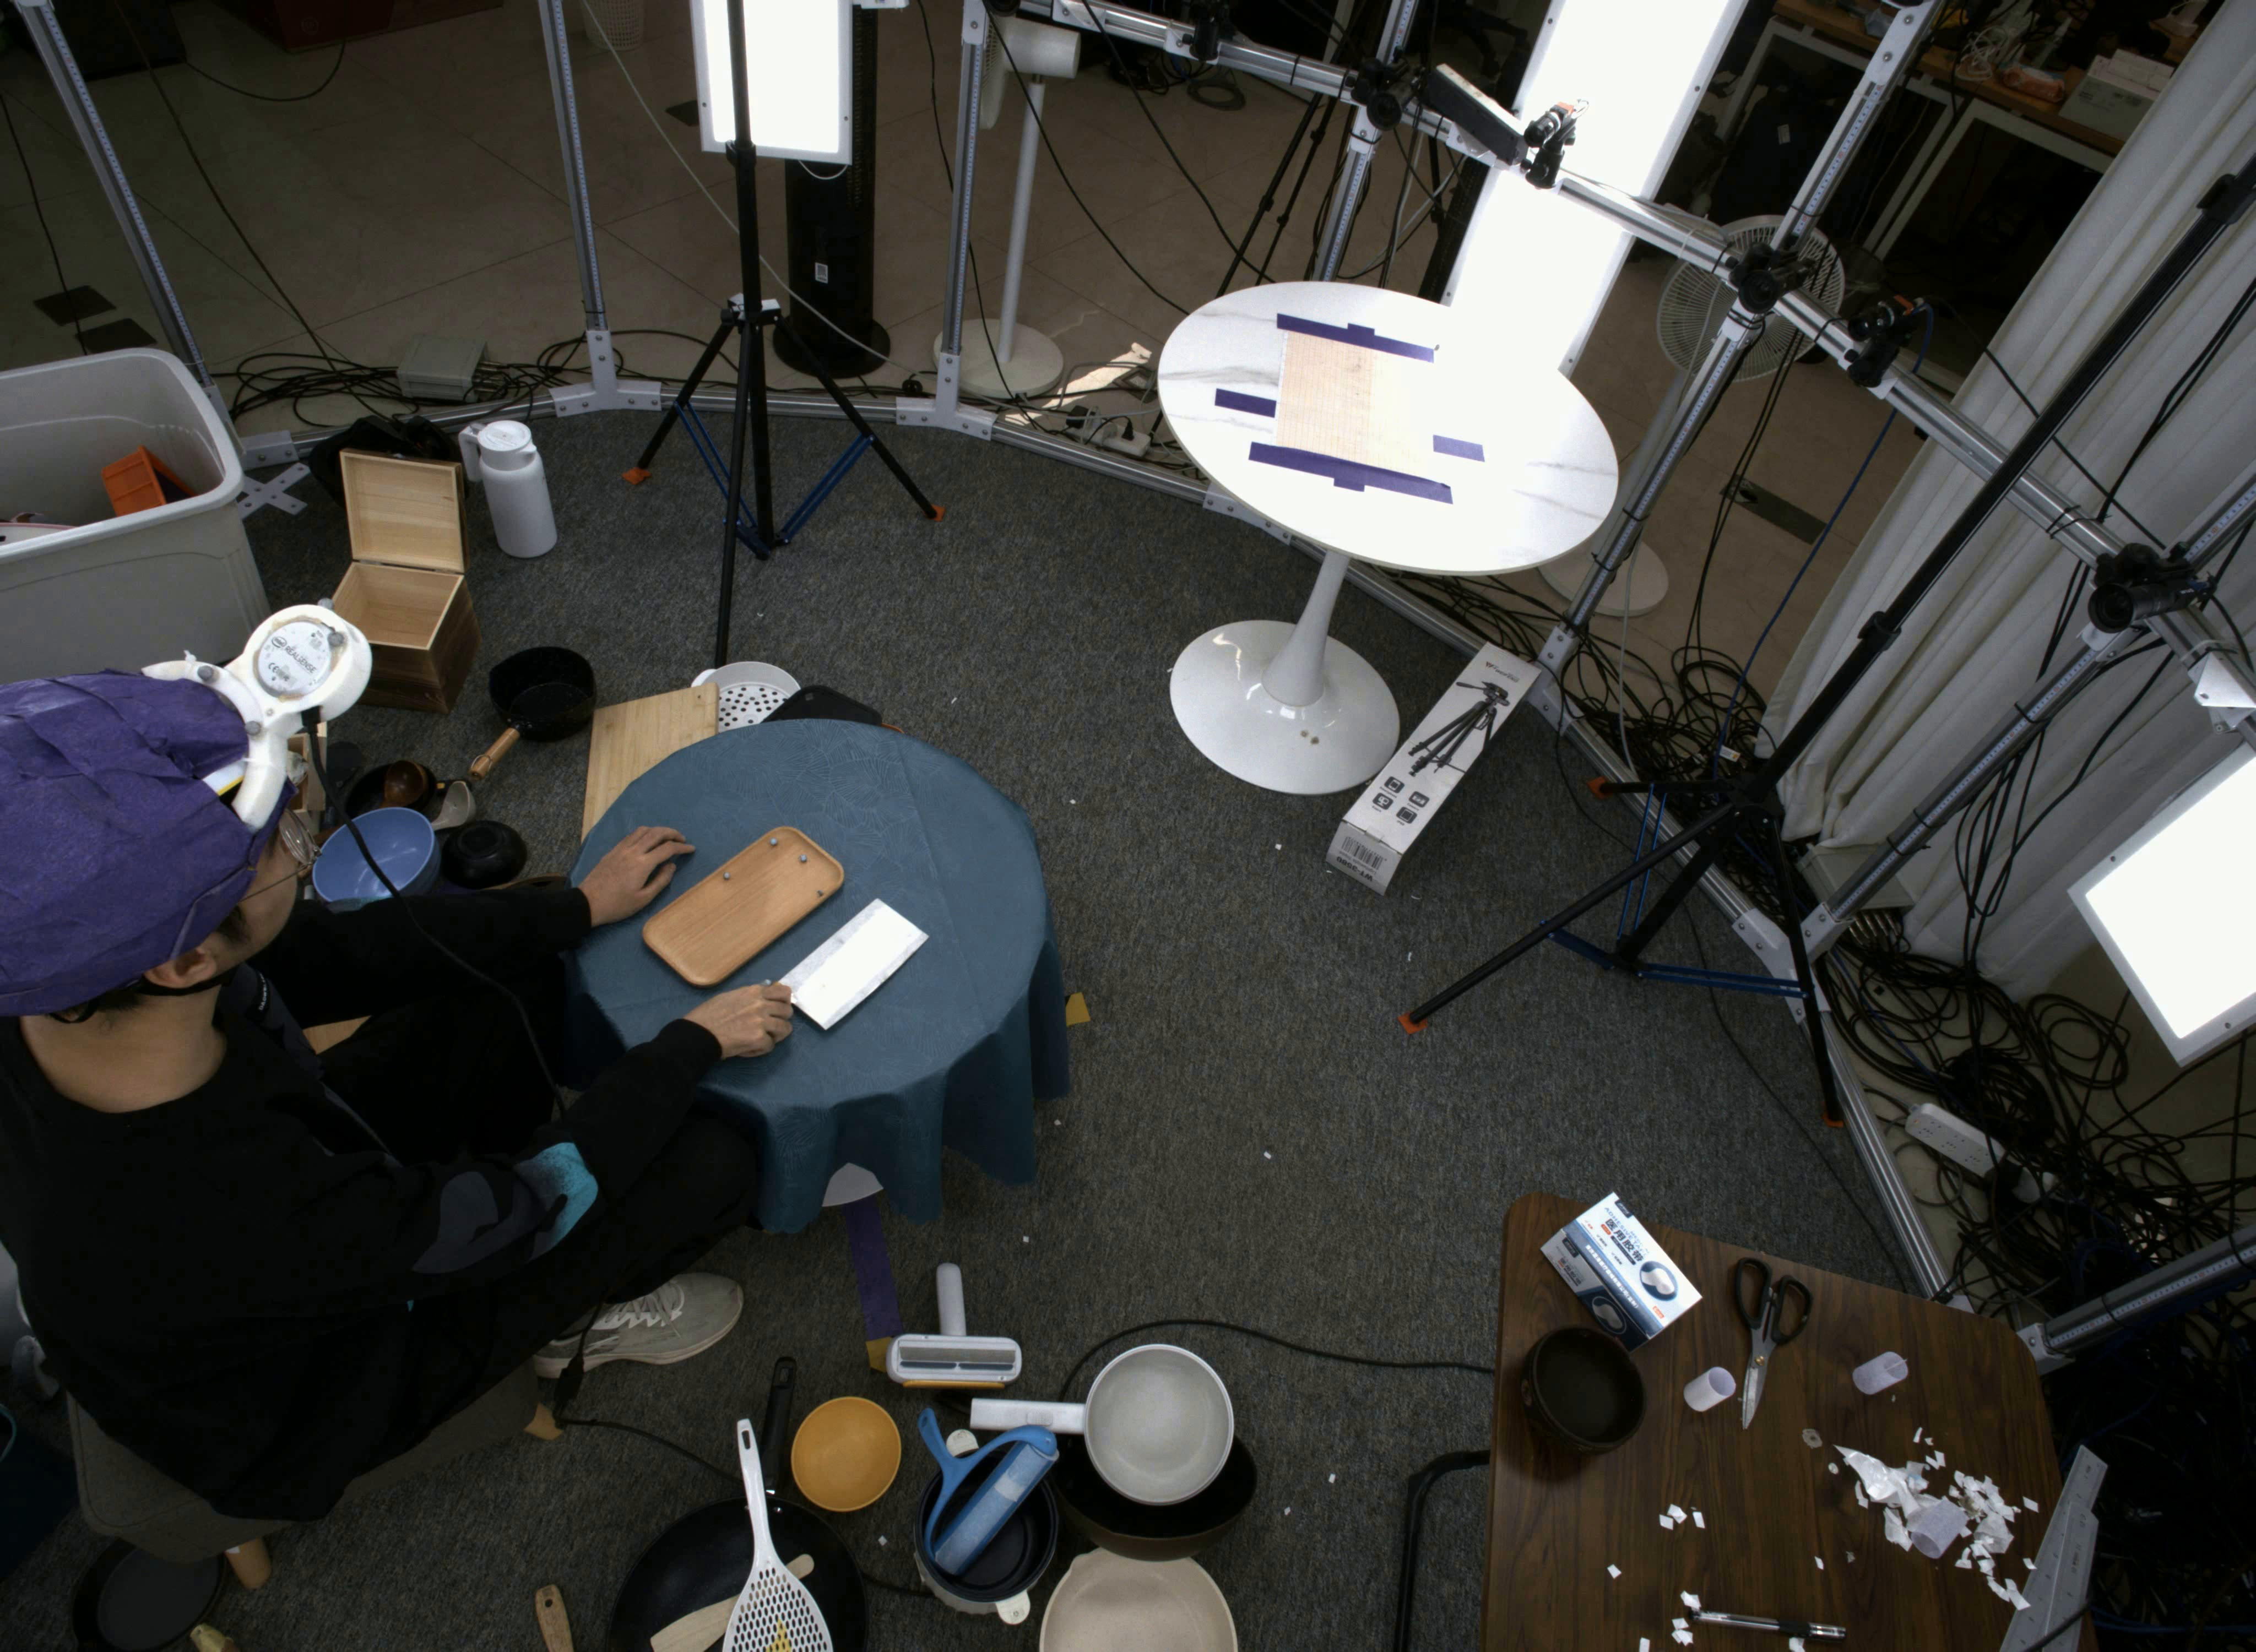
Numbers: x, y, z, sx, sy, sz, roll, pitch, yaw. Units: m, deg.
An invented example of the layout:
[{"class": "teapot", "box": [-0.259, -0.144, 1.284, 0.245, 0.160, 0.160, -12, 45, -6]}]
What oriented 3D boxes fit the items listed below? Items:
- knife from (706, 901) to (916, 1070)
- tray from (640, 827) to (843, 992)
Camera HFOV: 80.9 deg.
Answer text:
[{"class": "knife", "box": [-0.371, 0.196, 1.565, 0.091, 0.021, 0.305, 35, 49, 12]}, {"class": "tray", "box": [-0.480, 0.099, 1.614, 0.127, 0.023, 0.251, 37, 54, 16]}]
